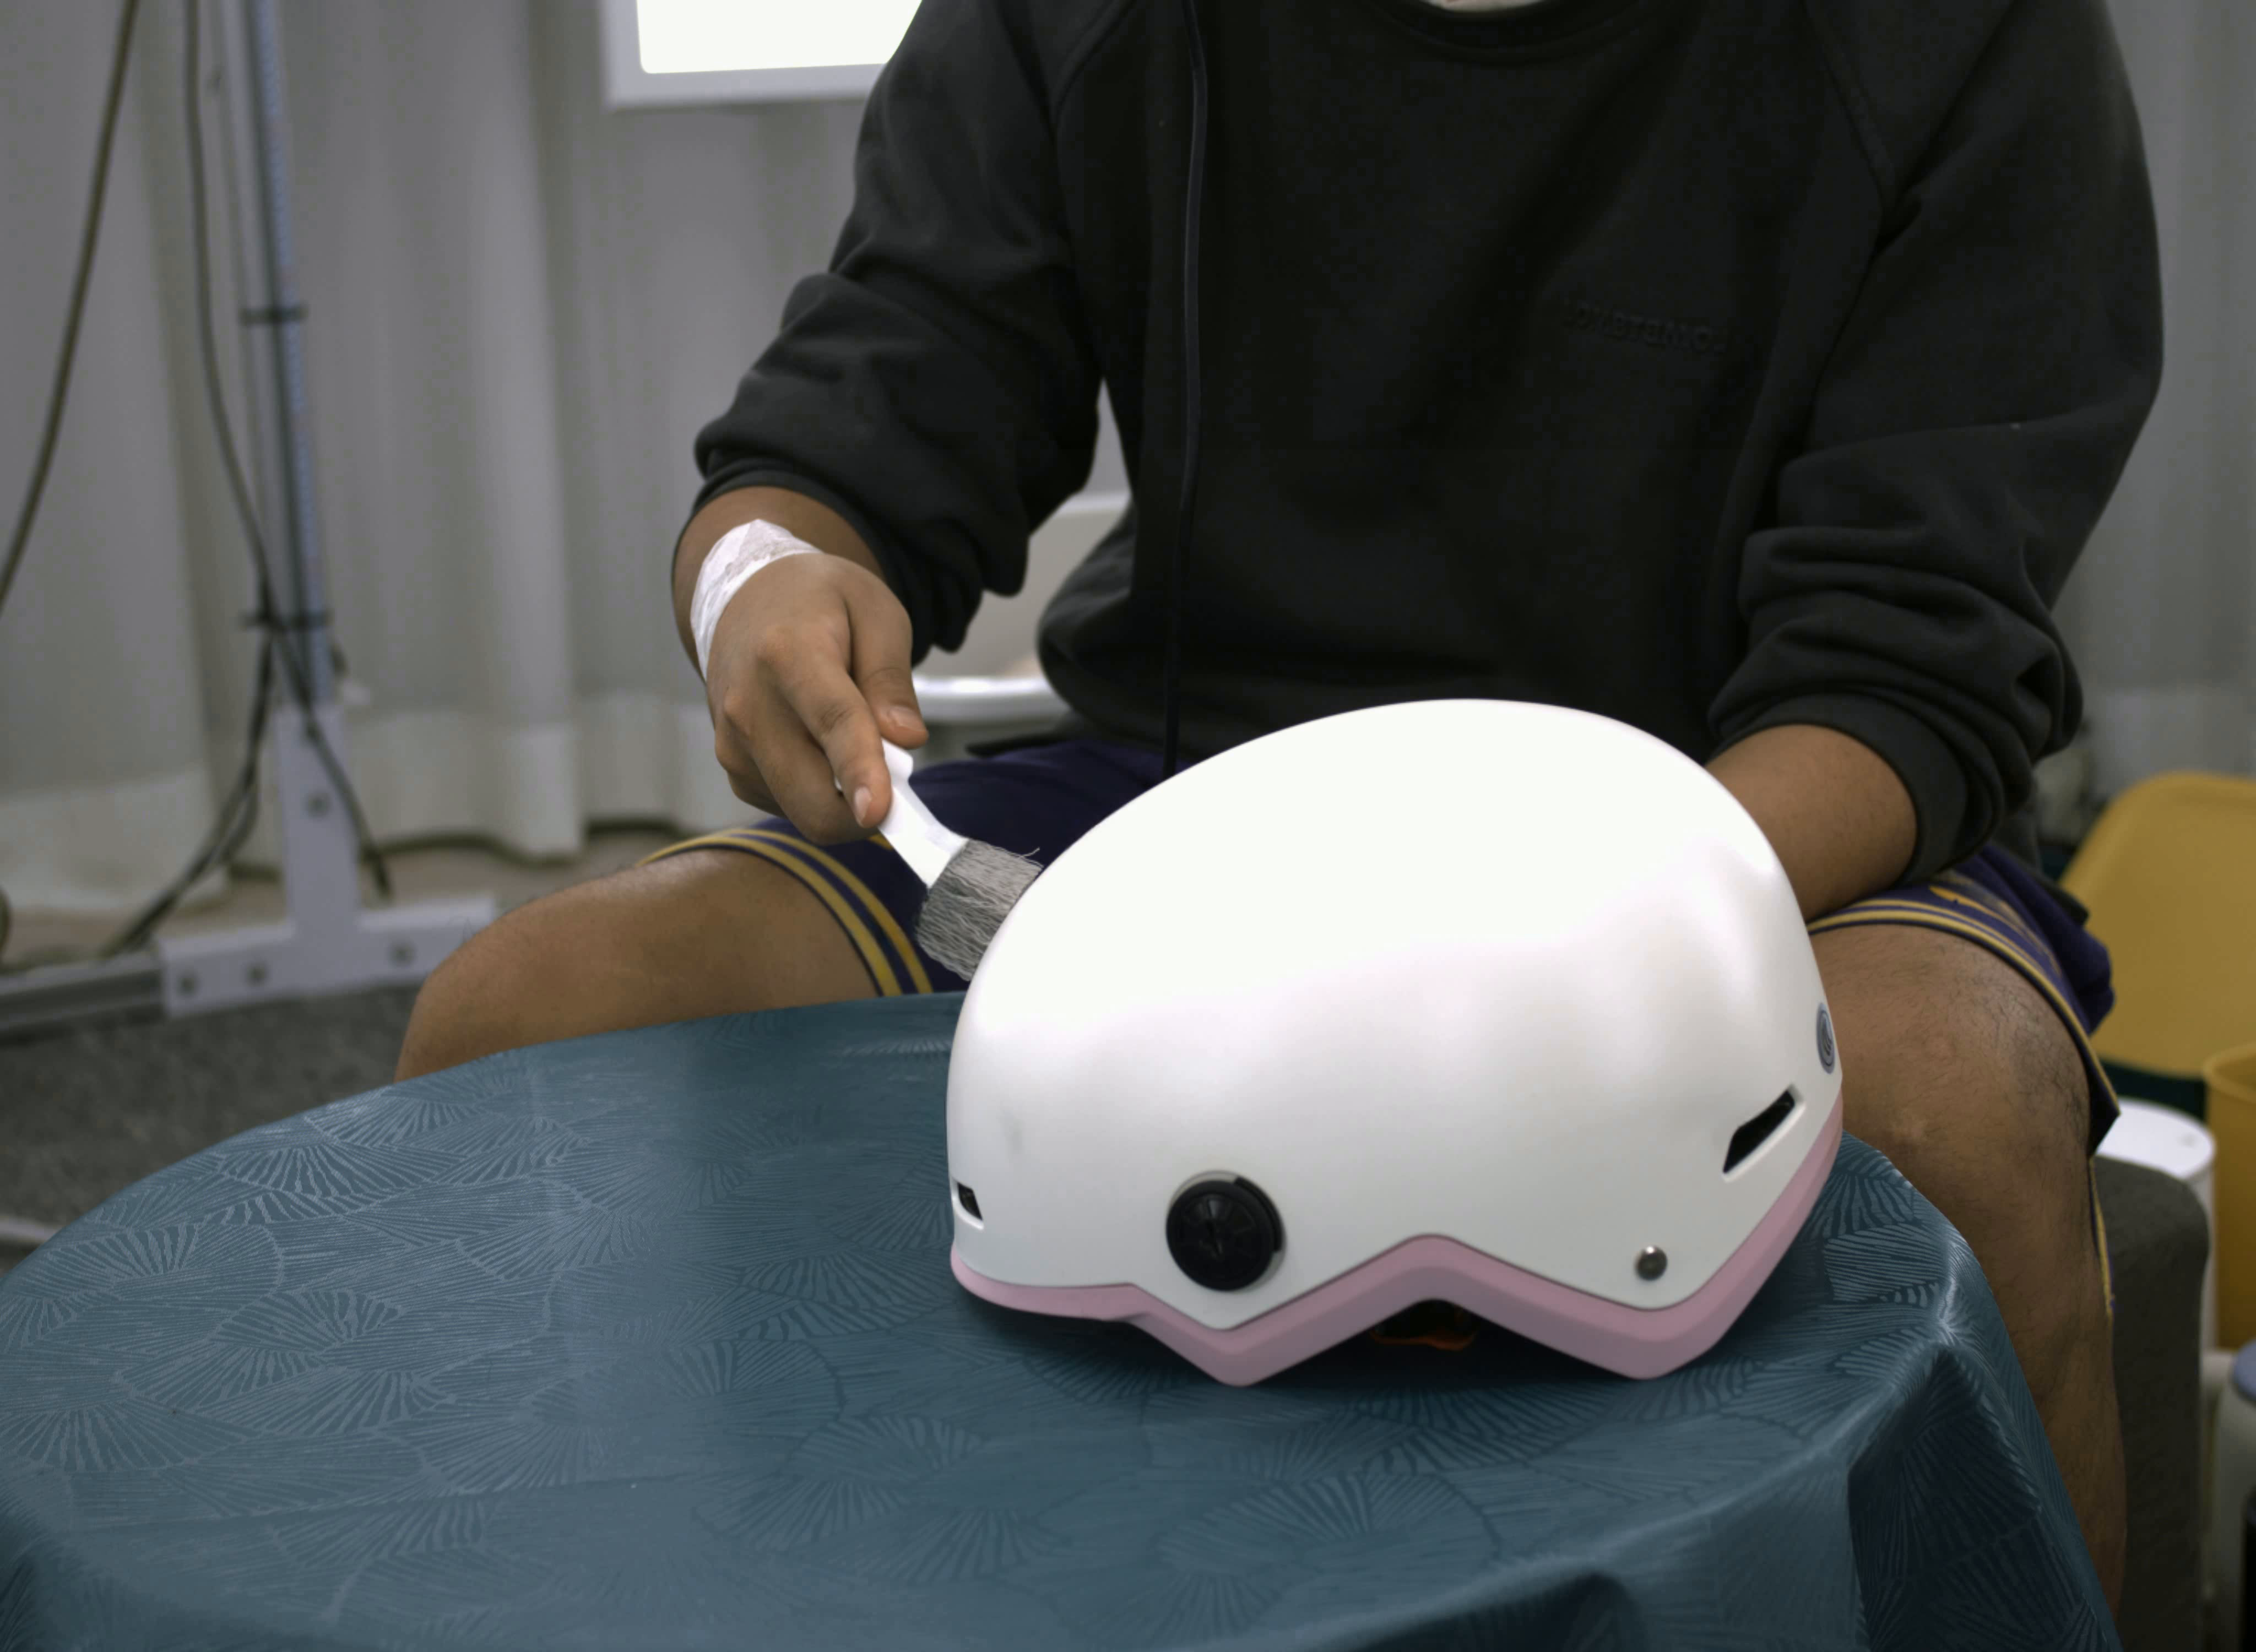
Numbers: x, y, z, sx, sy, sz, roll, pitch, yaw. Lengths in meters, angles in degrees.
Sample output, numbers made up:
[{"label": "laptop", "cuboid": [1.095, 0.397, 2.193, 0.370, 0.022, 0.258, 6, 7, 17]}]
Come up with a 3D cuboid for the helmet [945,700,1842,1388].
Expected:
[{"label": "helmet", "cuboid": [0.074, 0.049, 1.609, 0.268, 0.166, 0.238, 2, 19, 16]}]

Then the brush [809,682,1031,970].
[{"label": "brush", "cuboid": [-0.067, -0.002, 1.755, 0.050, 0.034, 0.245, 26, 9, -14]}]
